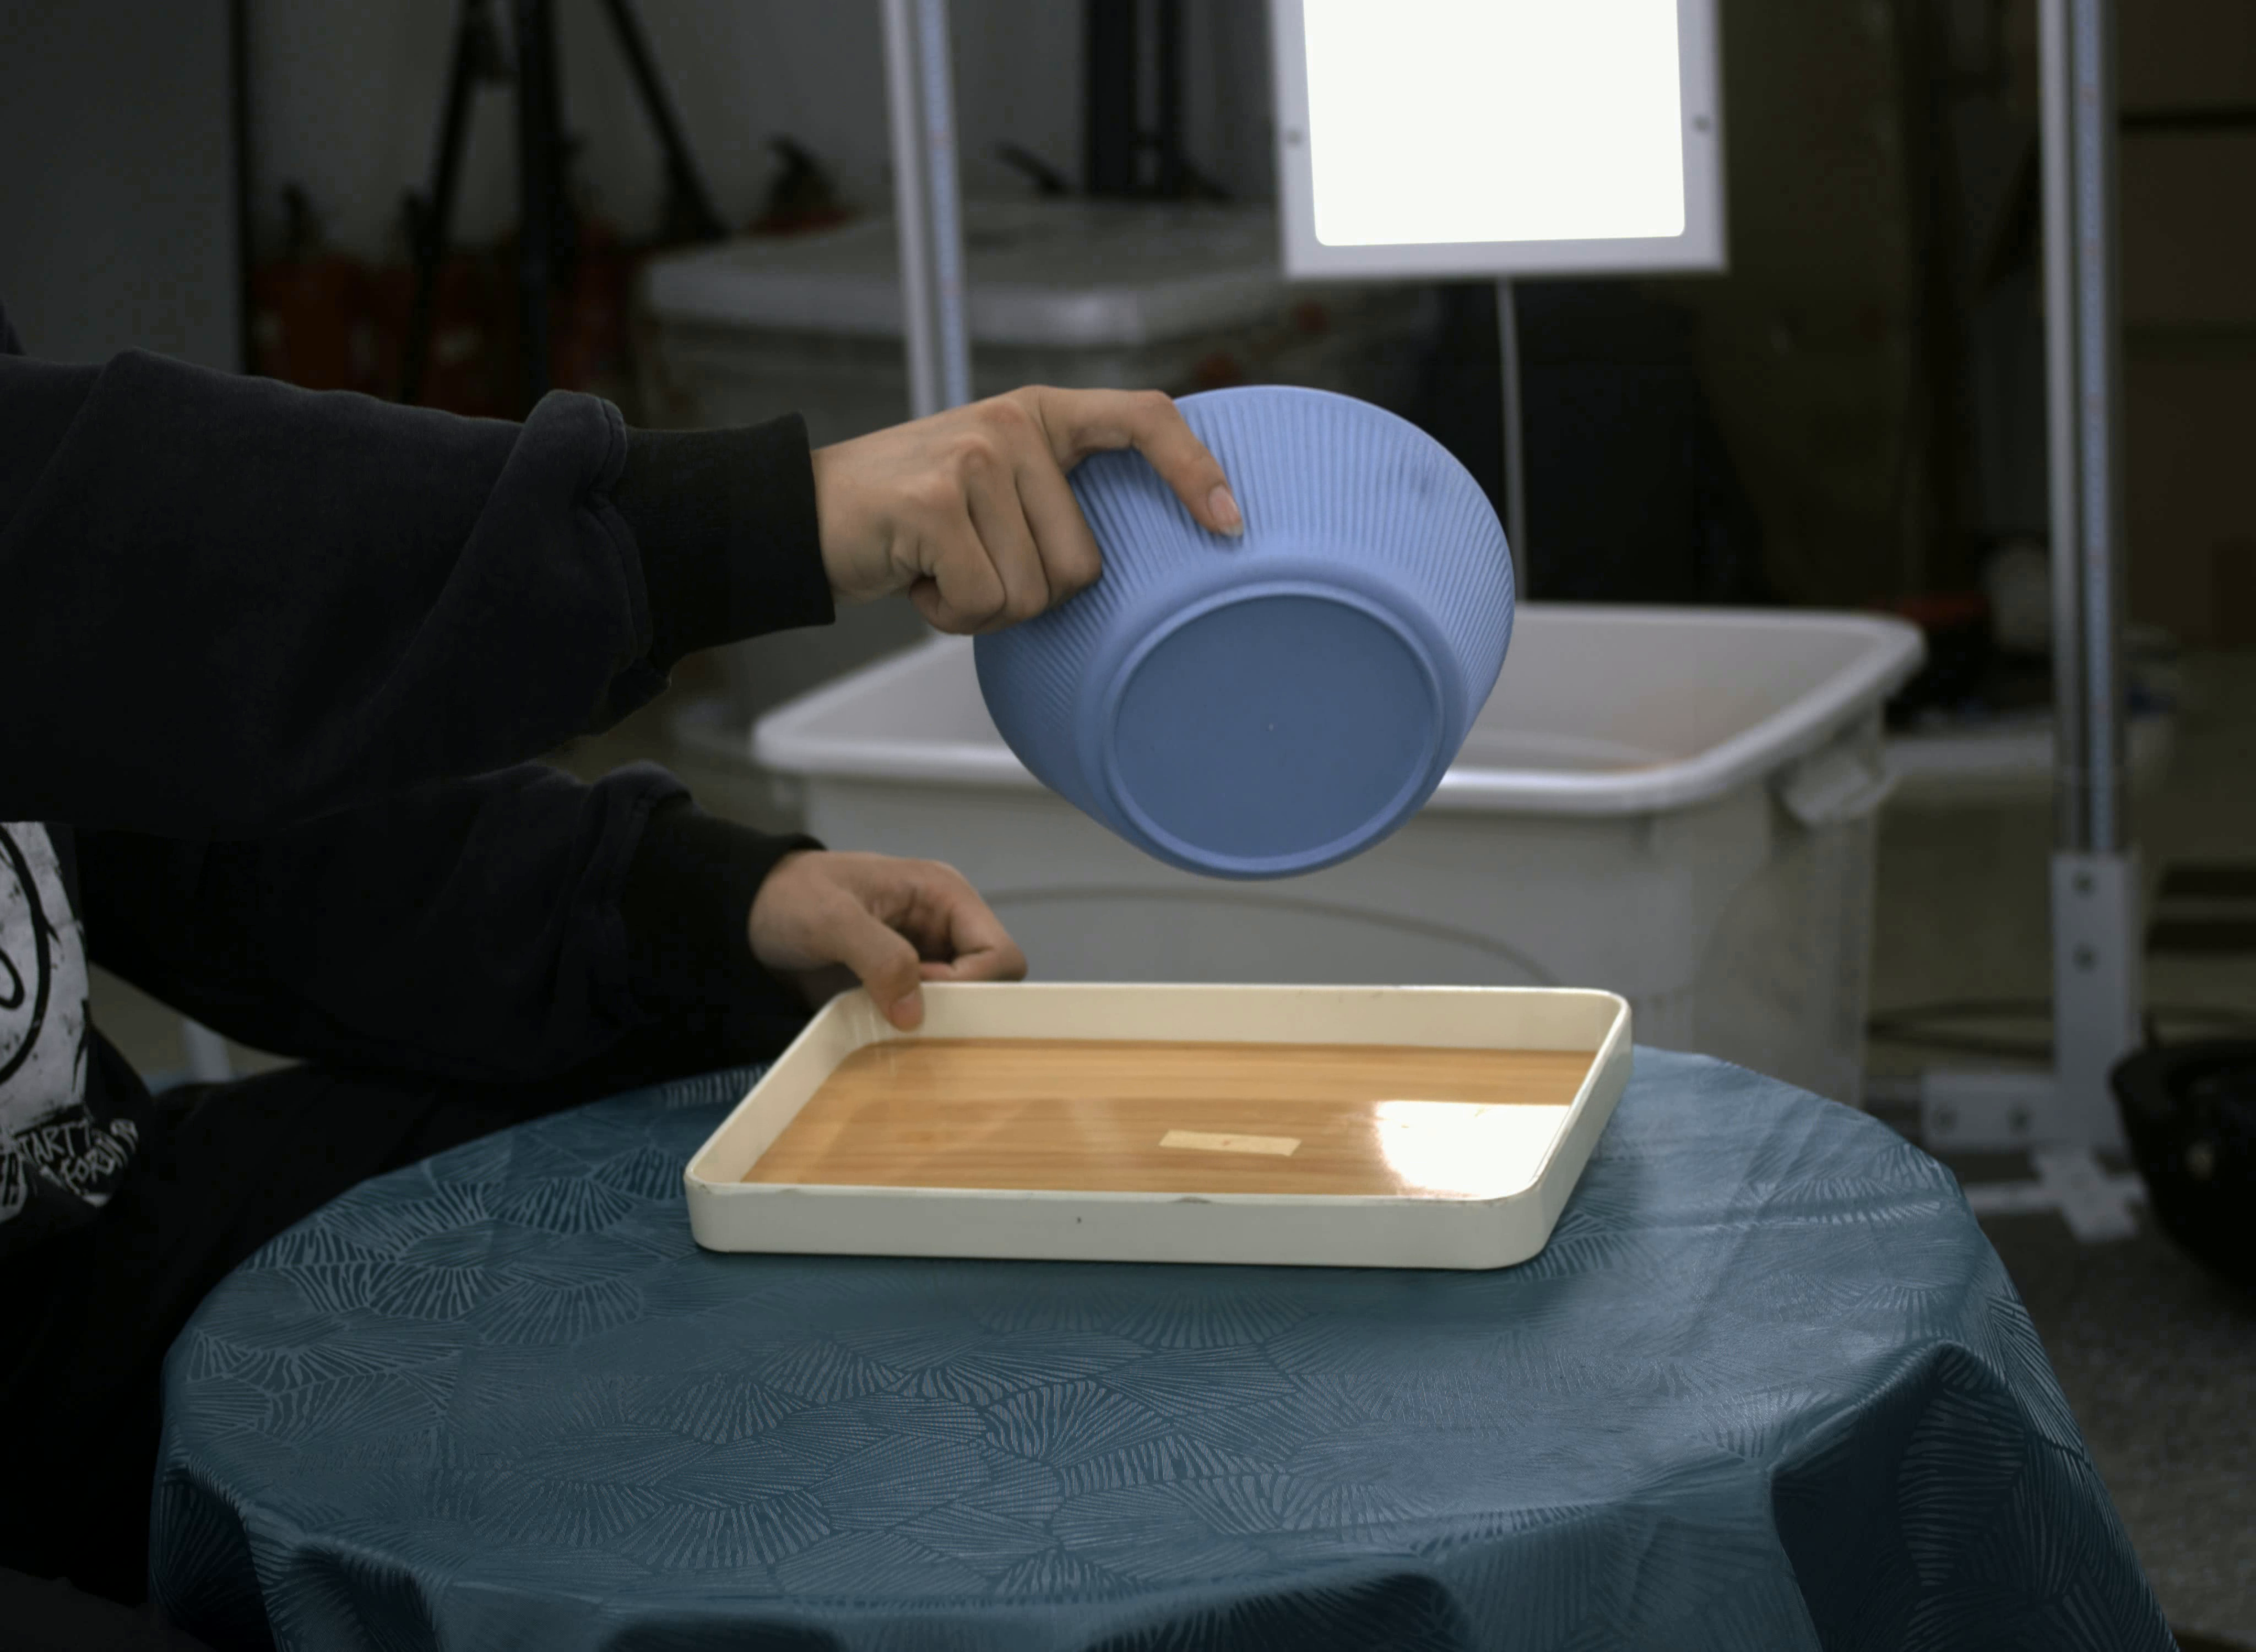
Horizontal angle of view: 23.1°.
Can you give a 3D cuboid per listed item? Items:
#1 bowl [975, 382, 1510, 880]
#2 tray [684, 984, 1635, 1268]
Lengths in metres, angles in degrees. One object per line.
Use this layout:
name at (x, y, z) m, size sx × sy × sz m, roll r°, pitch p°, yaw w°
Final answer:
bowl at (0.041, -0.049, 1.744) m, size 0.175 × 0.177 × 0.070 m, roll -4°, pitch 35°, yaw -2°
tray at (0.014, 0.102, 1.904) m, size 0.304 × 0.027 × 0.188 m, roll 0°, pitch 20°, yaw 19°
